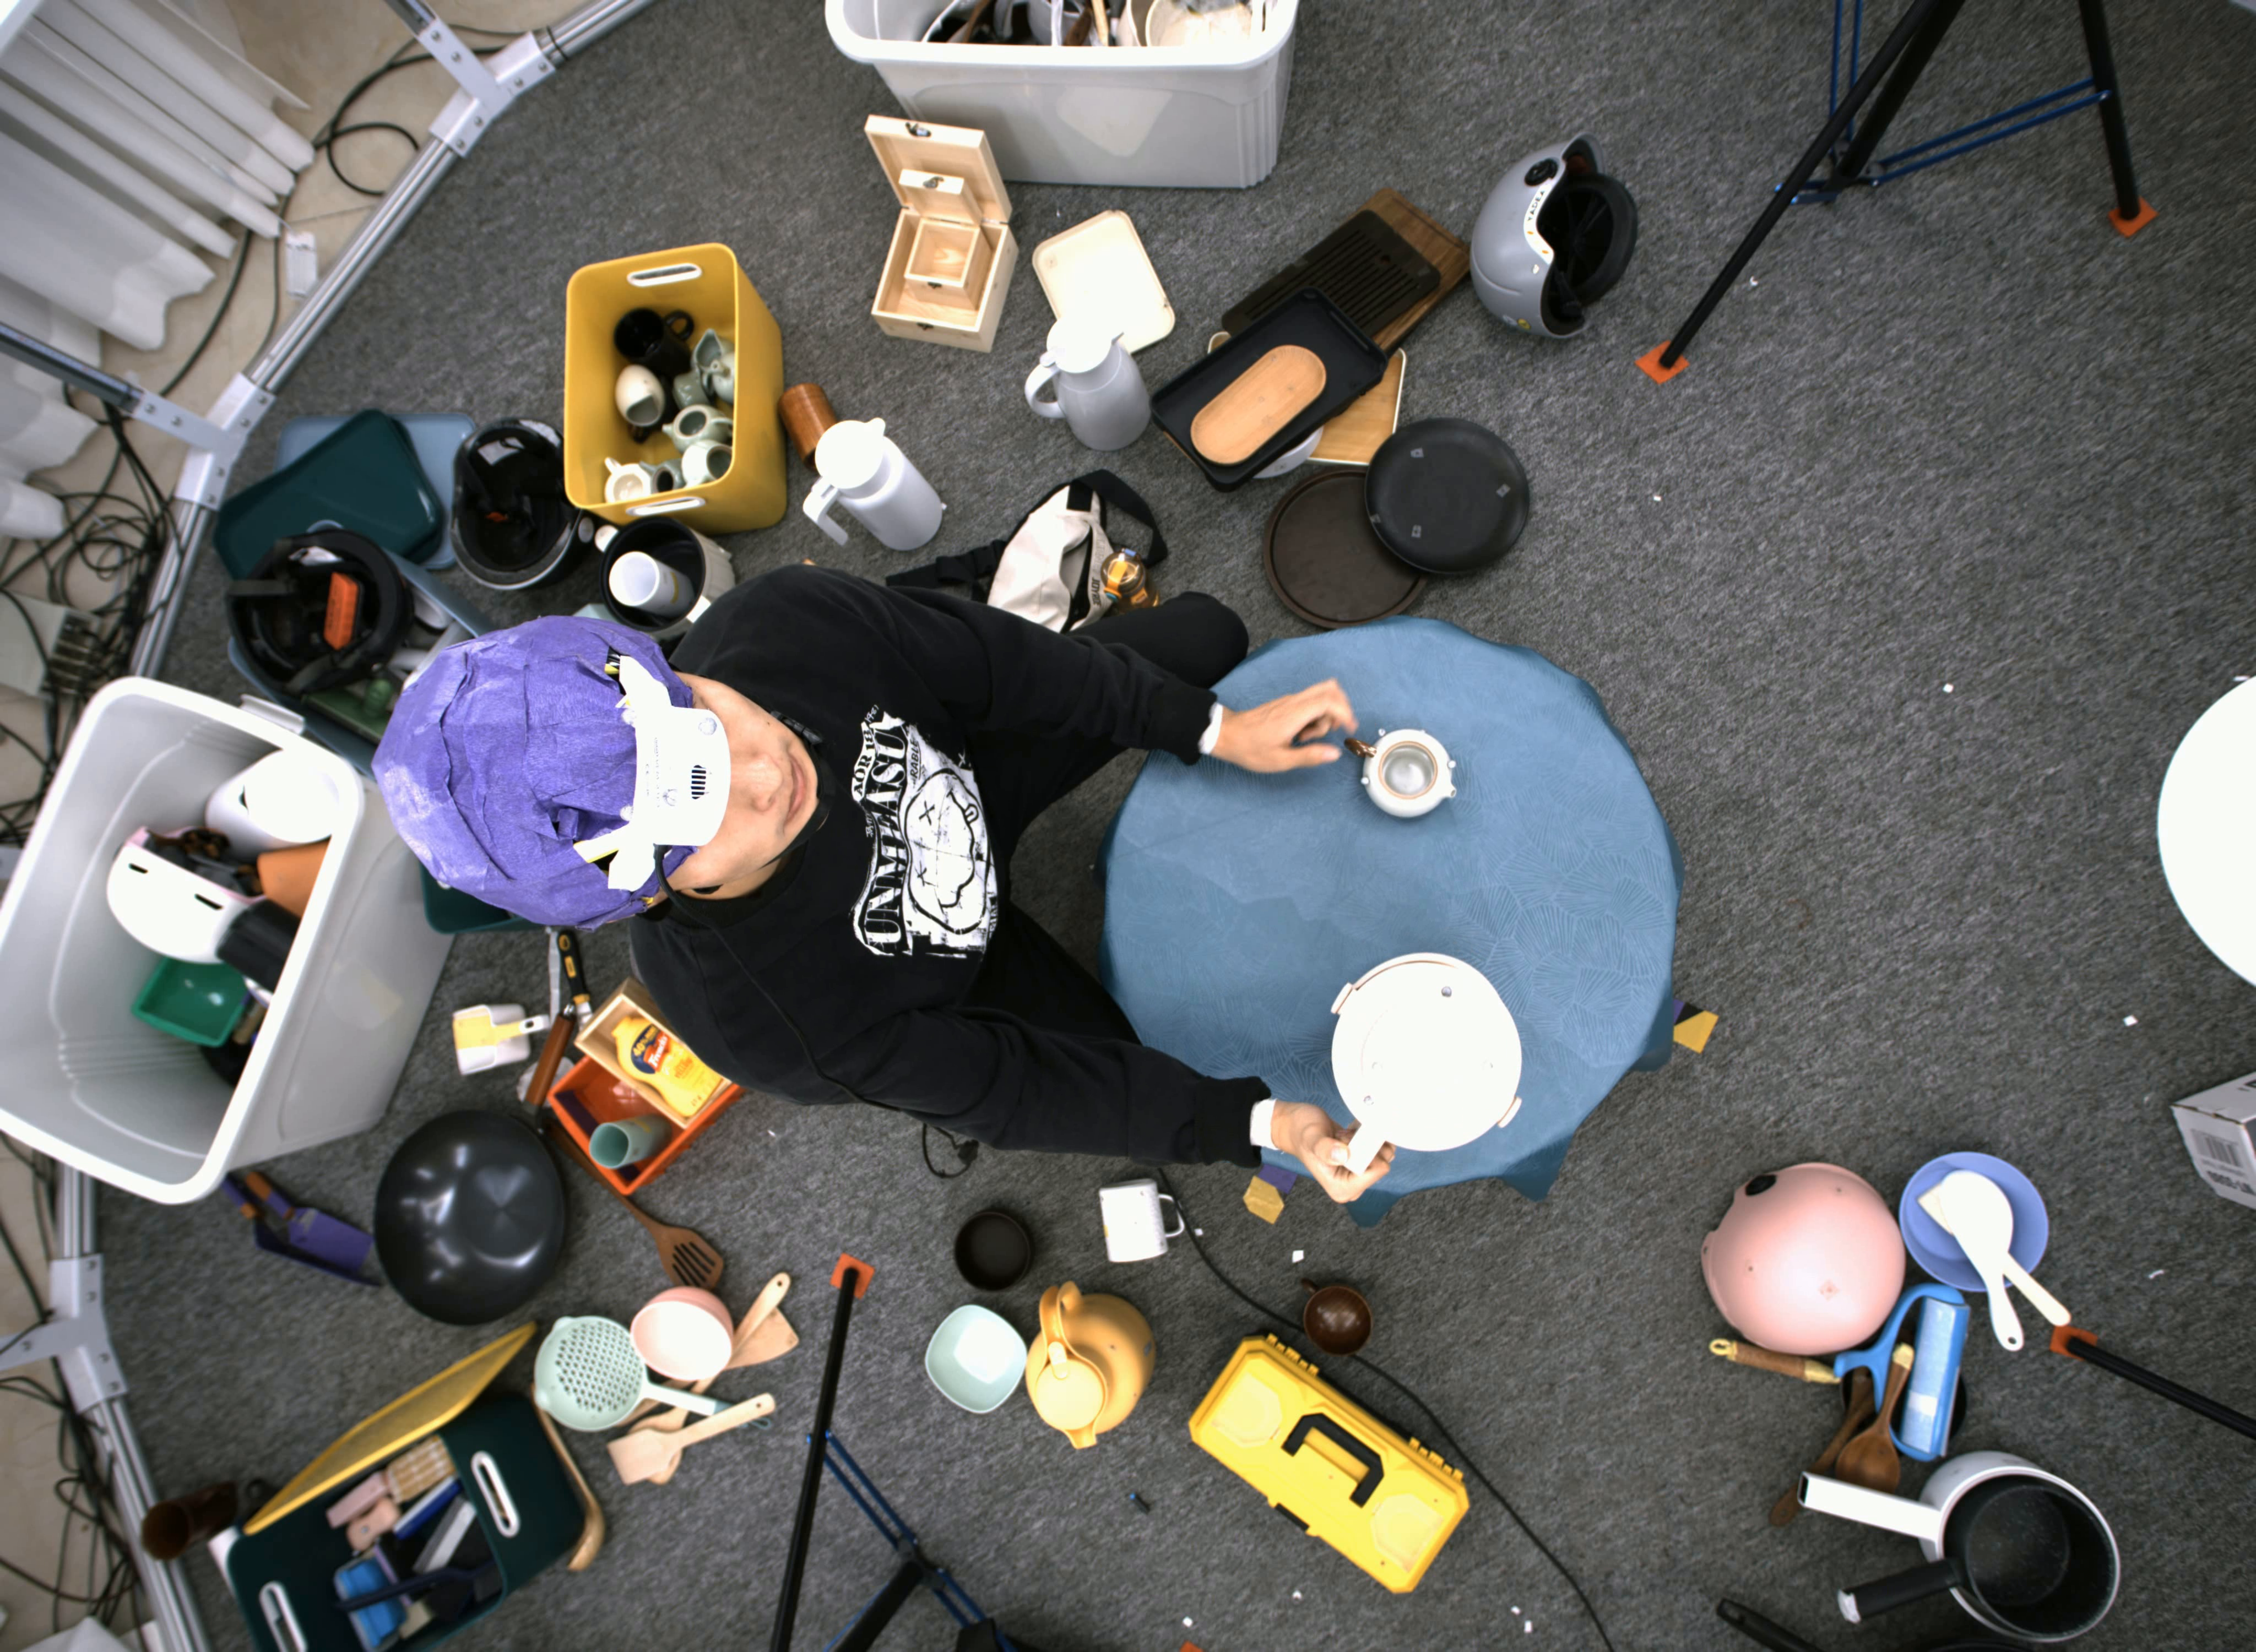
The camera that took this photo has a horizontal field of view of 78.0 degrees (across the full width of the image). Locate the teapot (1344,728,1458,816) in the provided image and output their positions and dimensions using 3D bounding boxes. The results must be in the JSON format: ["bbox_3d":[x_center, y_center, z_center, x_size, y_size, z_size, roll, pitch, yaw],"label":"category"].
[{"bbox_3d":[0.284,-0.062,1.435,0.128,0.059,0.092,26,95,11],"label":"teapot"}]

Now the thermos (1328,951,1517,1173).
[{"bbox_3d":[0.254,0.210,1.256,0.175,0.406,0.207,33,91,10],"label":"thermos"}]
